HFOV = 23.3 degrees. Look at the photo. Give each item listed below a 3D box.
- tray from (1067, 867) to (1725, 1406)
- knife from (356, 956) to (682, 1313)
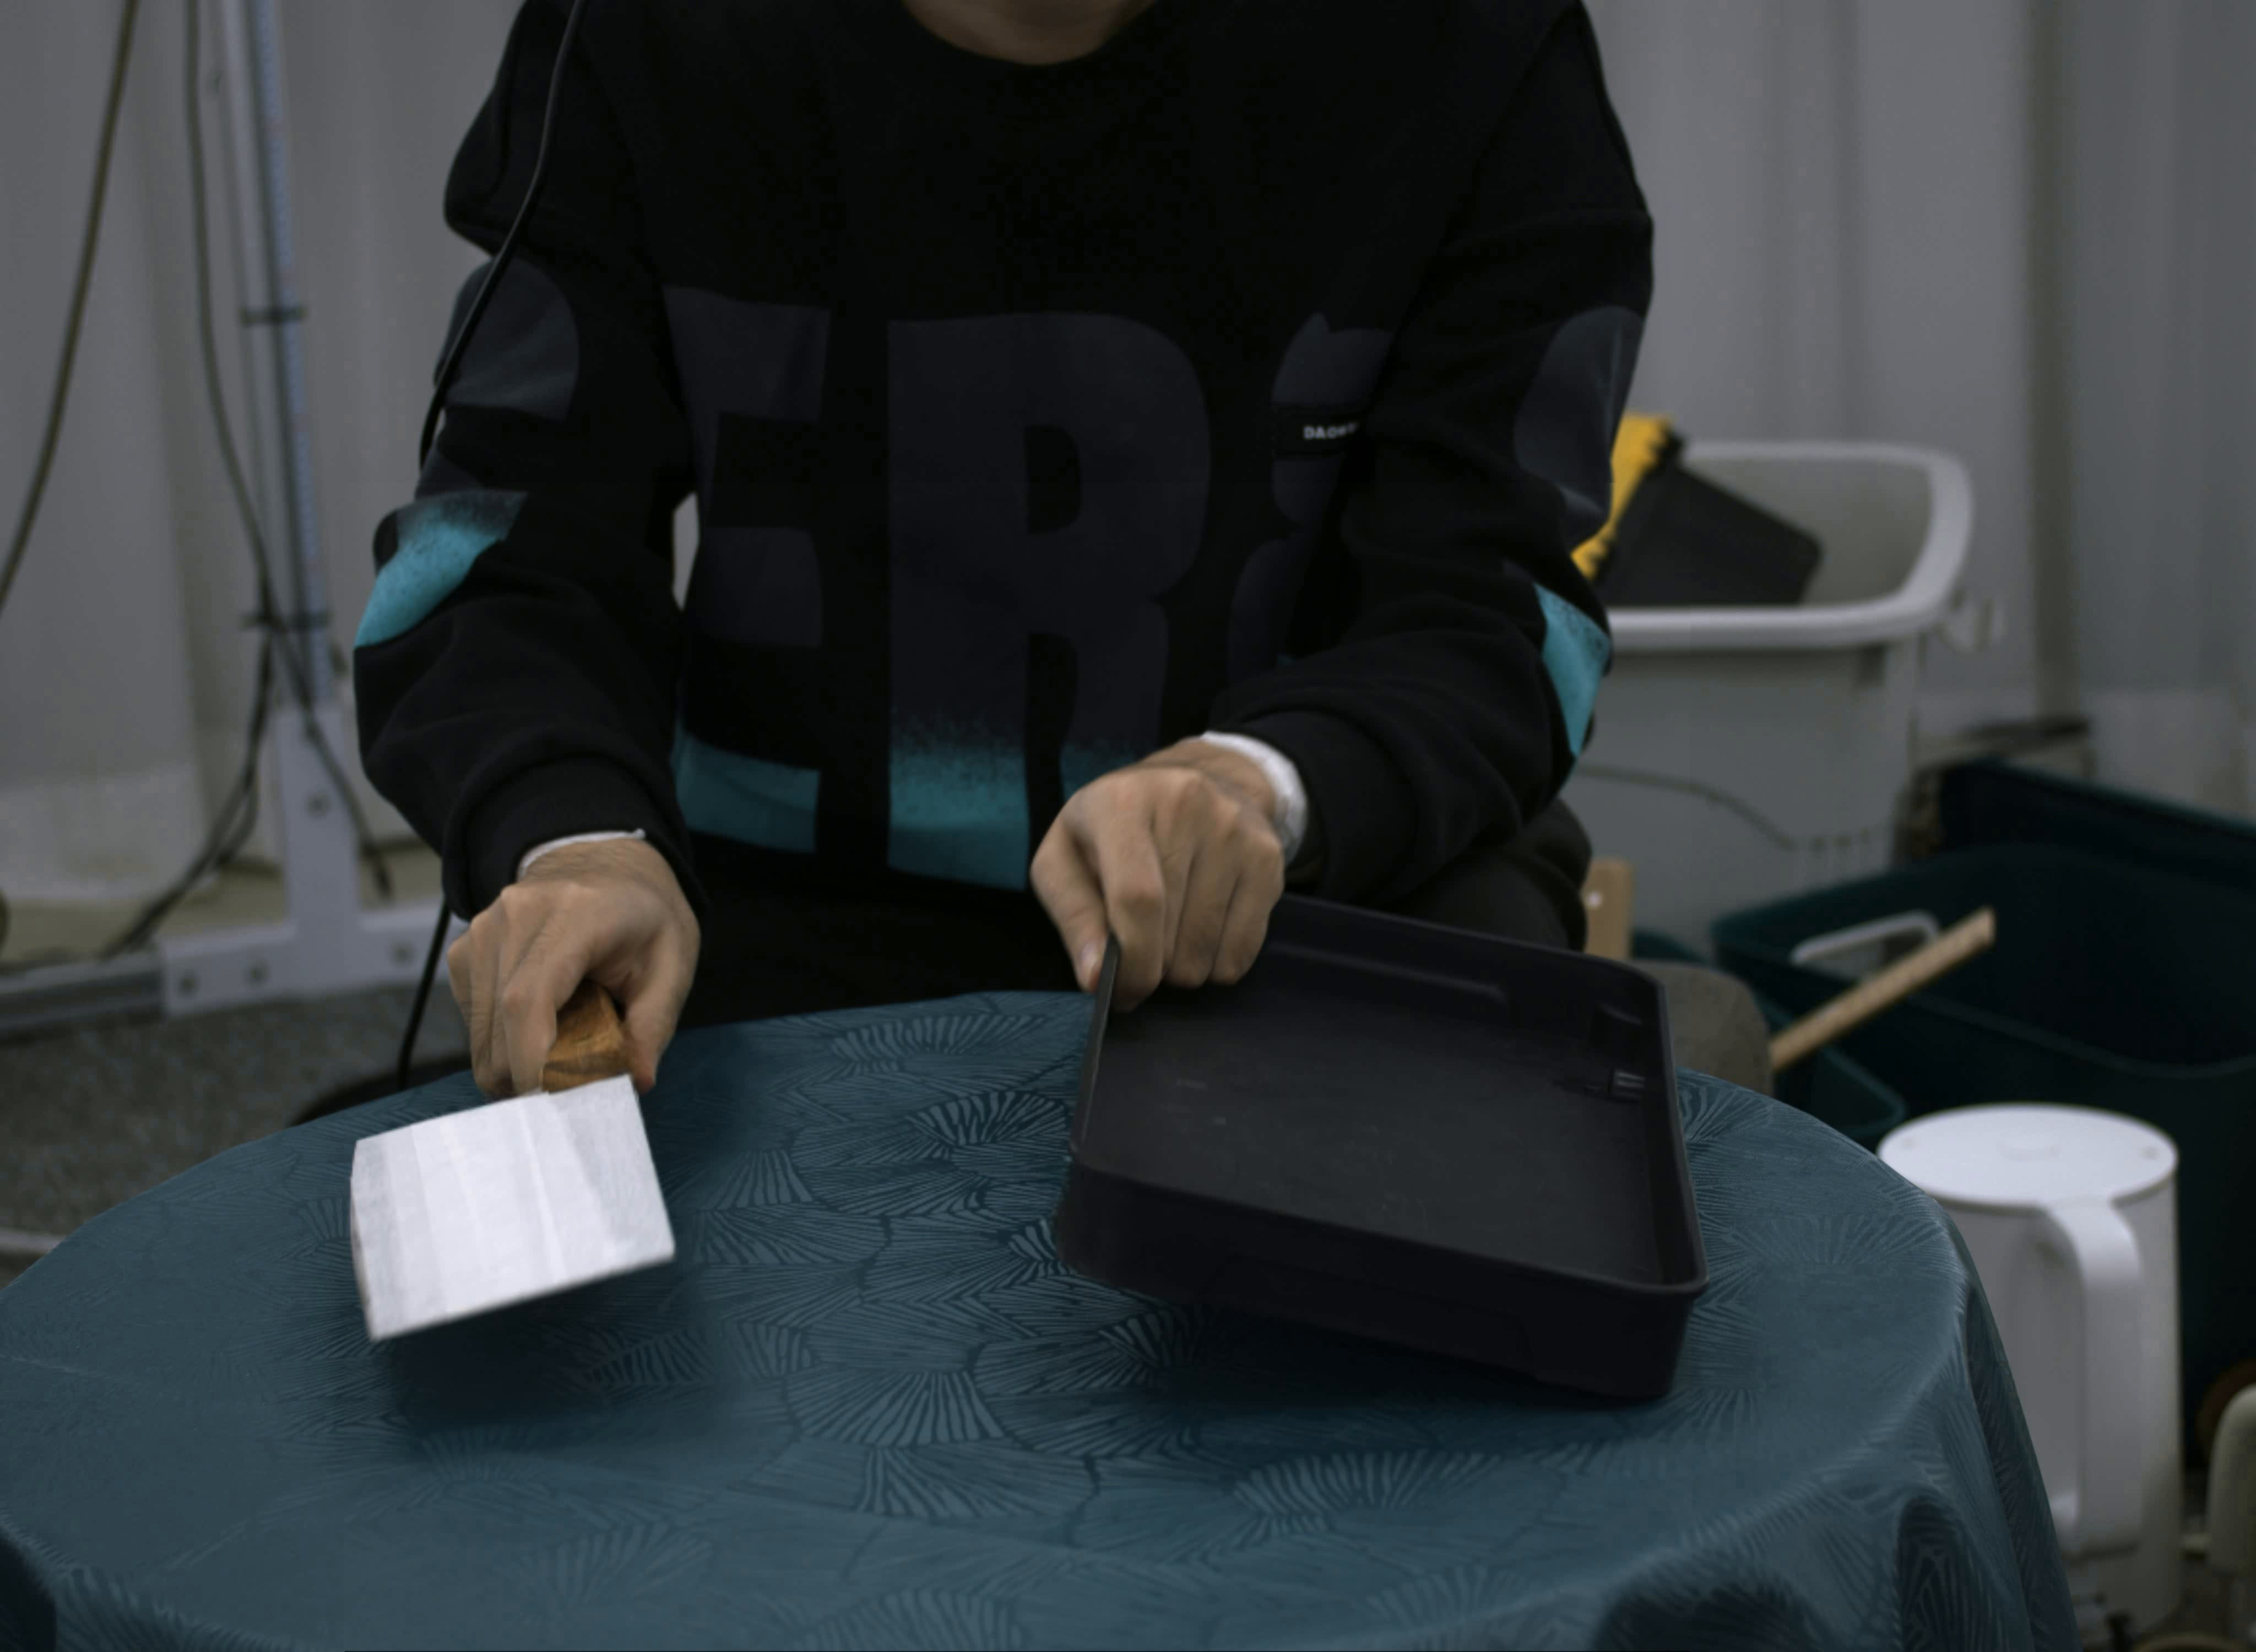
[{"bbox_3d":[0.076,0.087,1.649,0.183,0.037,0.320,12,15,-2],"label":"tray"},{"bbox_3d":[-0.192,0.095,1.682,0.092,0.021,0.308,-16,15,-6],"label":"knife"}]
